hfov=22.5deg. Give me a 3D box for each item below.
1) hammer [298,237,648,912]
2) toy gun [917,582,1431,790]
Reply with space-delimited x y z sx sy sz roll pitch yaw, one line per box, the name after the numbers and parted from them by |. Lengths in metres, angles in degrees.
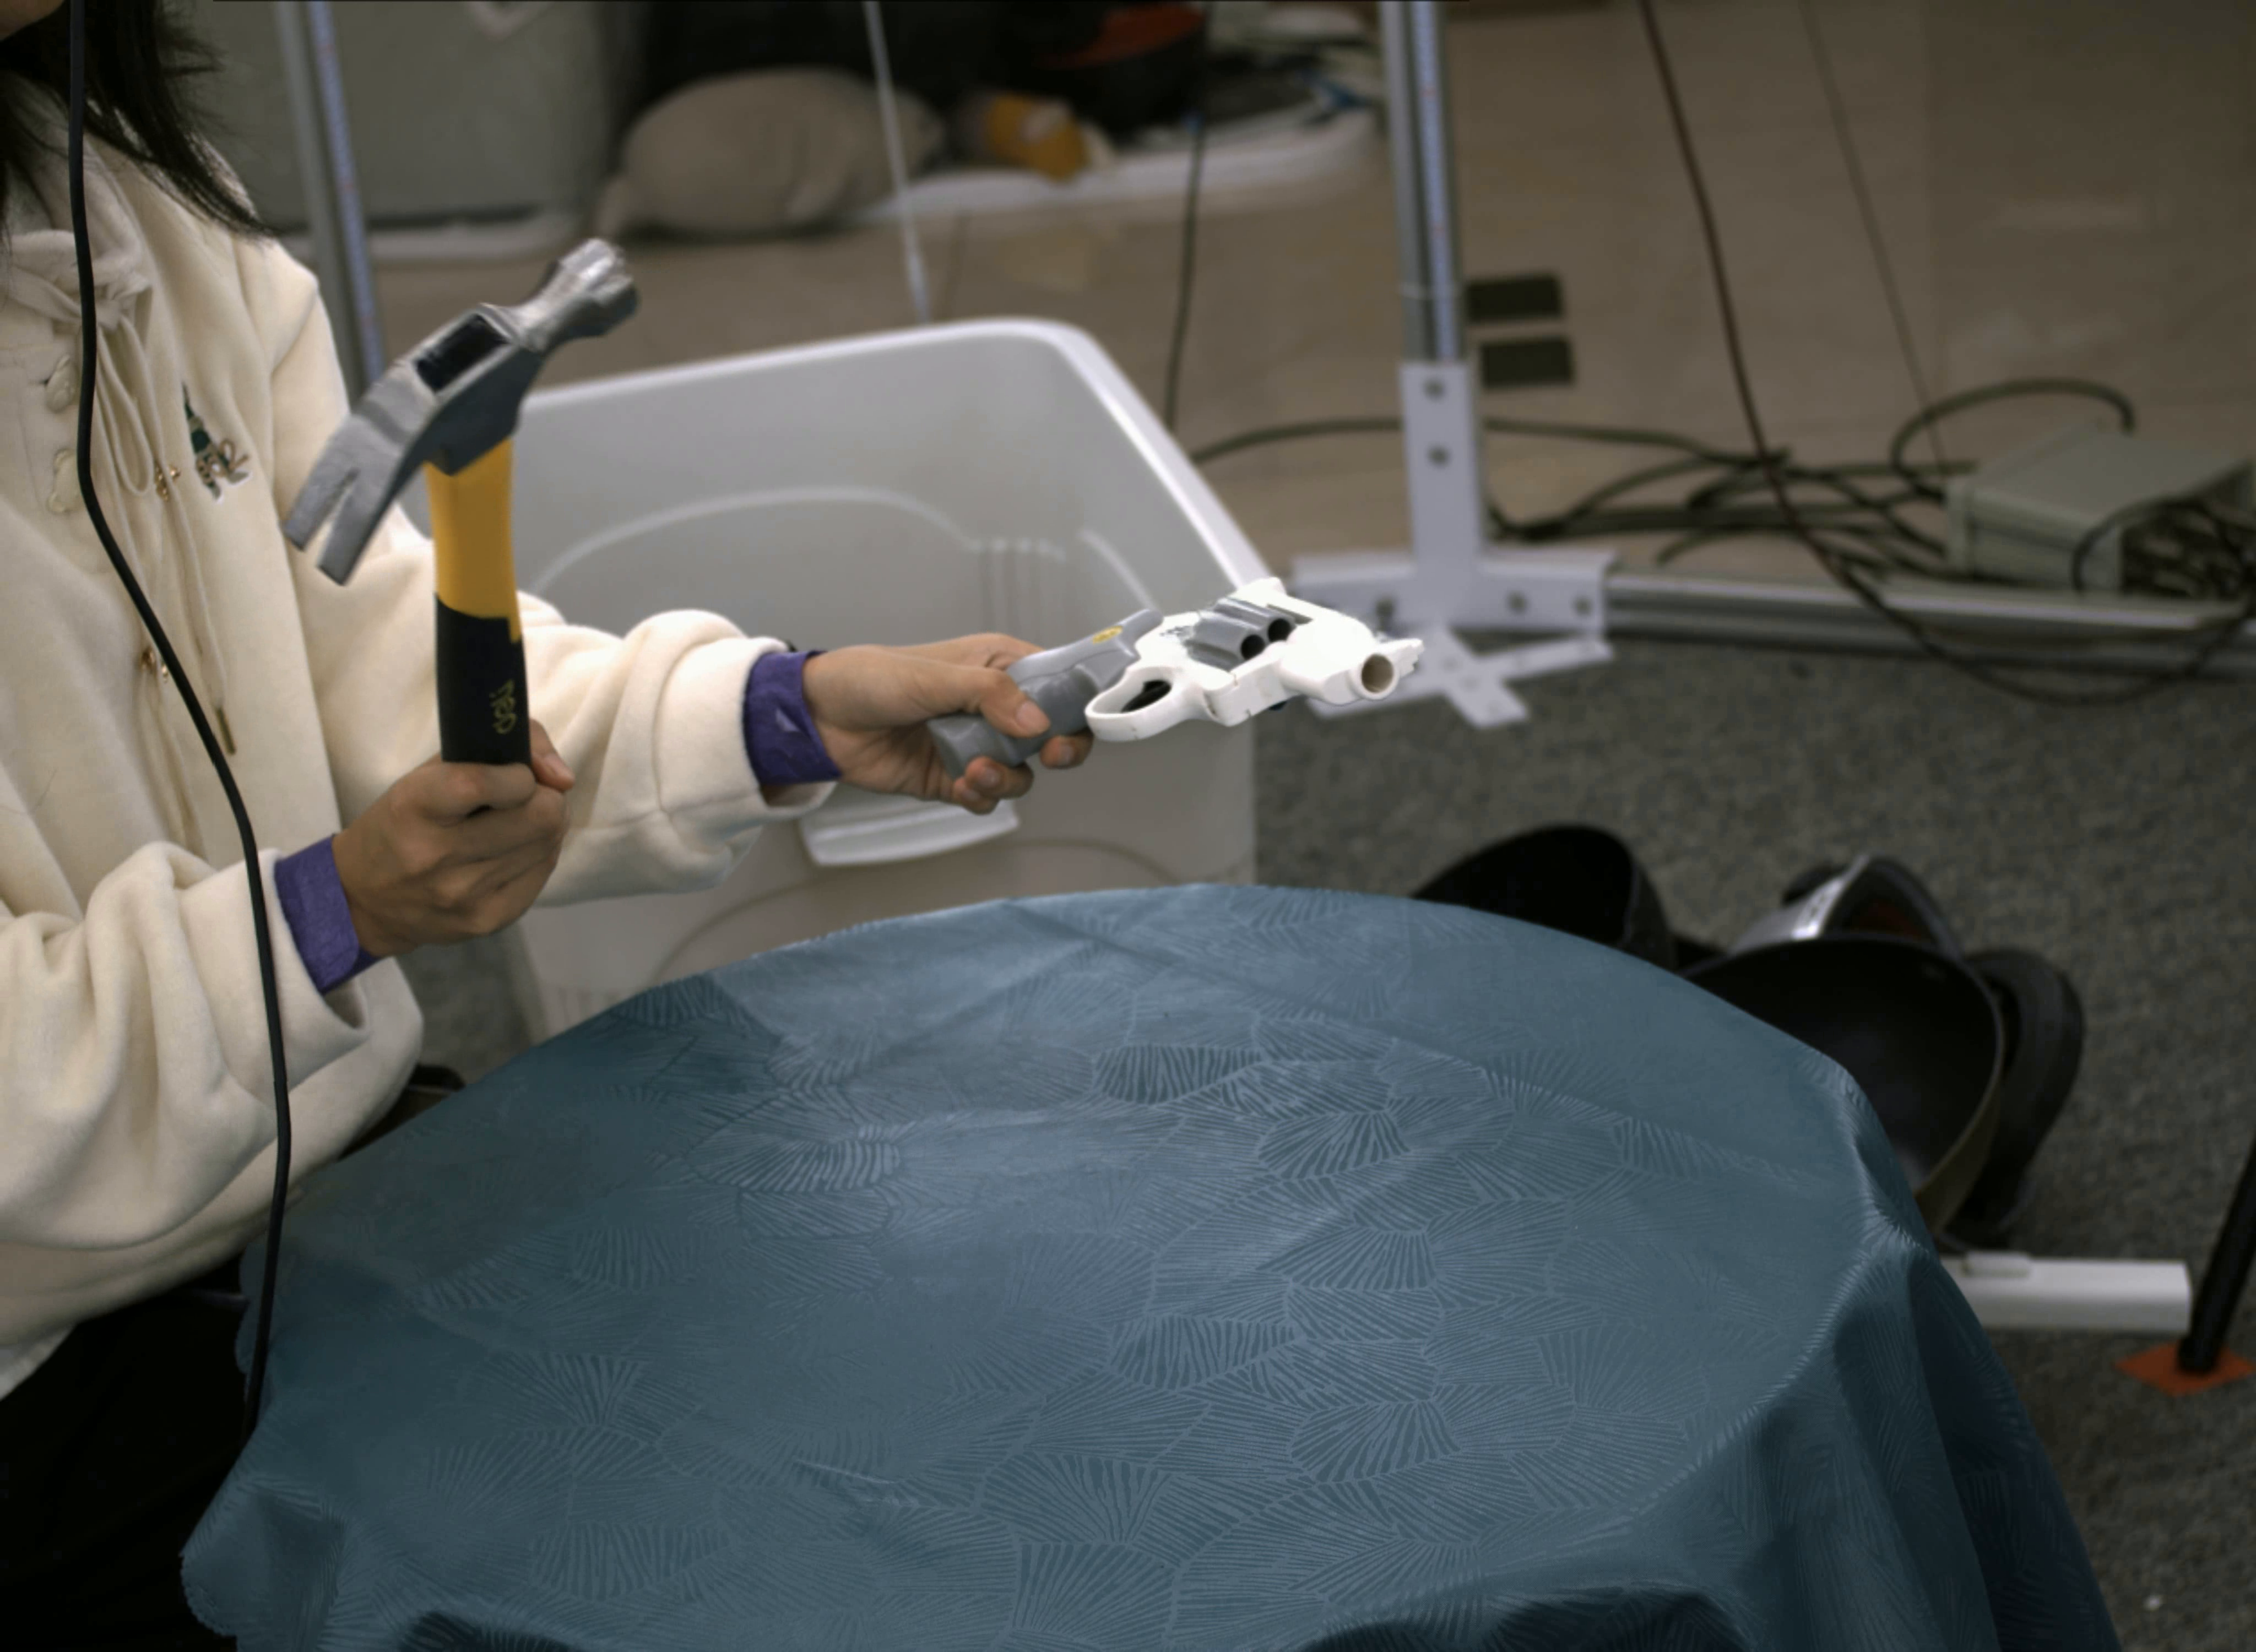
-0.227 -0.068 1.979 0.032 0.344 0.130 42 65 17 | hammer
0.014 -0.051 2.171 0.141 0.039 0.208 -30 19 -18 | toy gun
